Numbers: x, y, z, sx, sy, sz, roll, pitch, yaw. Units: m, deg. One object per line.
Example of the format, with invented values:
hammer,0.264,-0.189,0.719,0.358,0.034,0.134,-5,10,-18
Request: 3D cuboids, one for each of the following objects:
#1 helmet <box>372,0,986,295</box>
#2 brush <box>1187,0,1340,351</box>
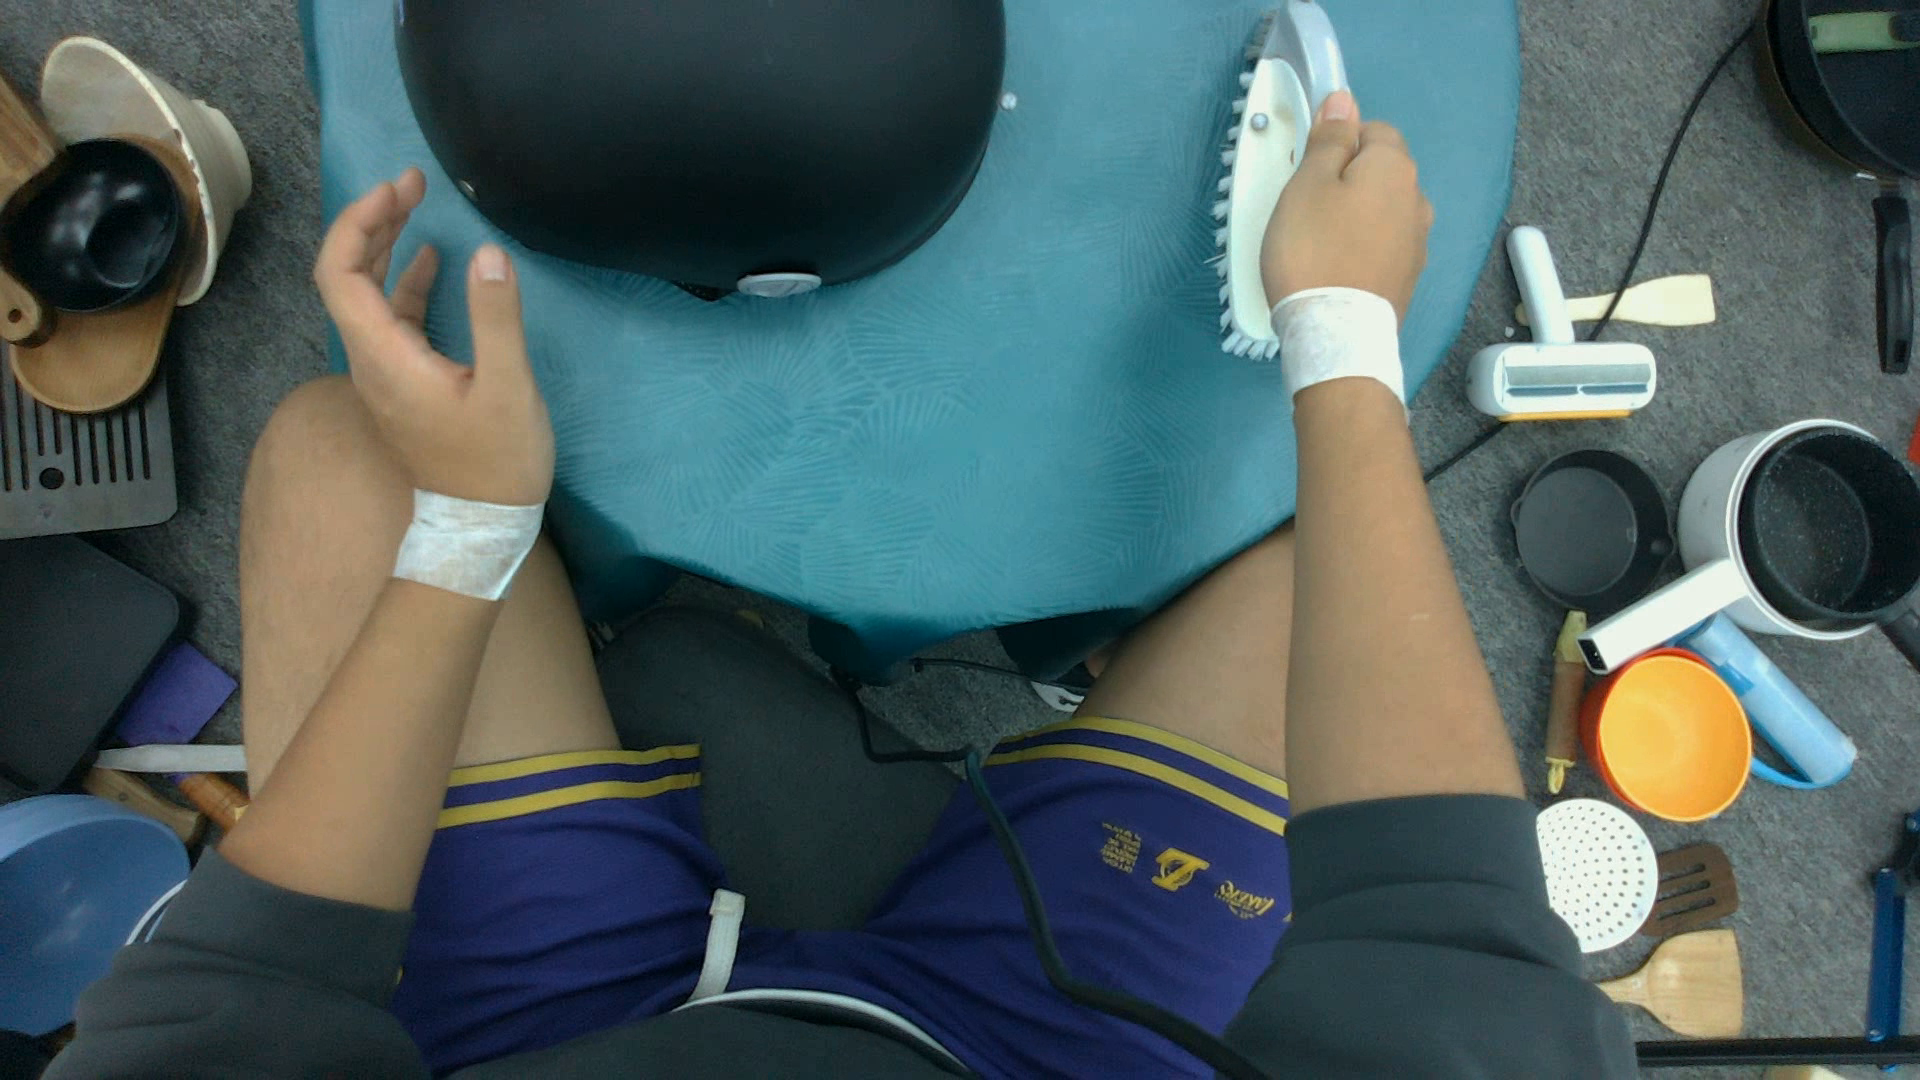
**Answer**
helmet,-0.111,-0.229,0.579,0.273,0.166,0.230,7,86,-12
brush,0.149,-0.185,0.658,0.061,0.094,0.175,3,84,-9
